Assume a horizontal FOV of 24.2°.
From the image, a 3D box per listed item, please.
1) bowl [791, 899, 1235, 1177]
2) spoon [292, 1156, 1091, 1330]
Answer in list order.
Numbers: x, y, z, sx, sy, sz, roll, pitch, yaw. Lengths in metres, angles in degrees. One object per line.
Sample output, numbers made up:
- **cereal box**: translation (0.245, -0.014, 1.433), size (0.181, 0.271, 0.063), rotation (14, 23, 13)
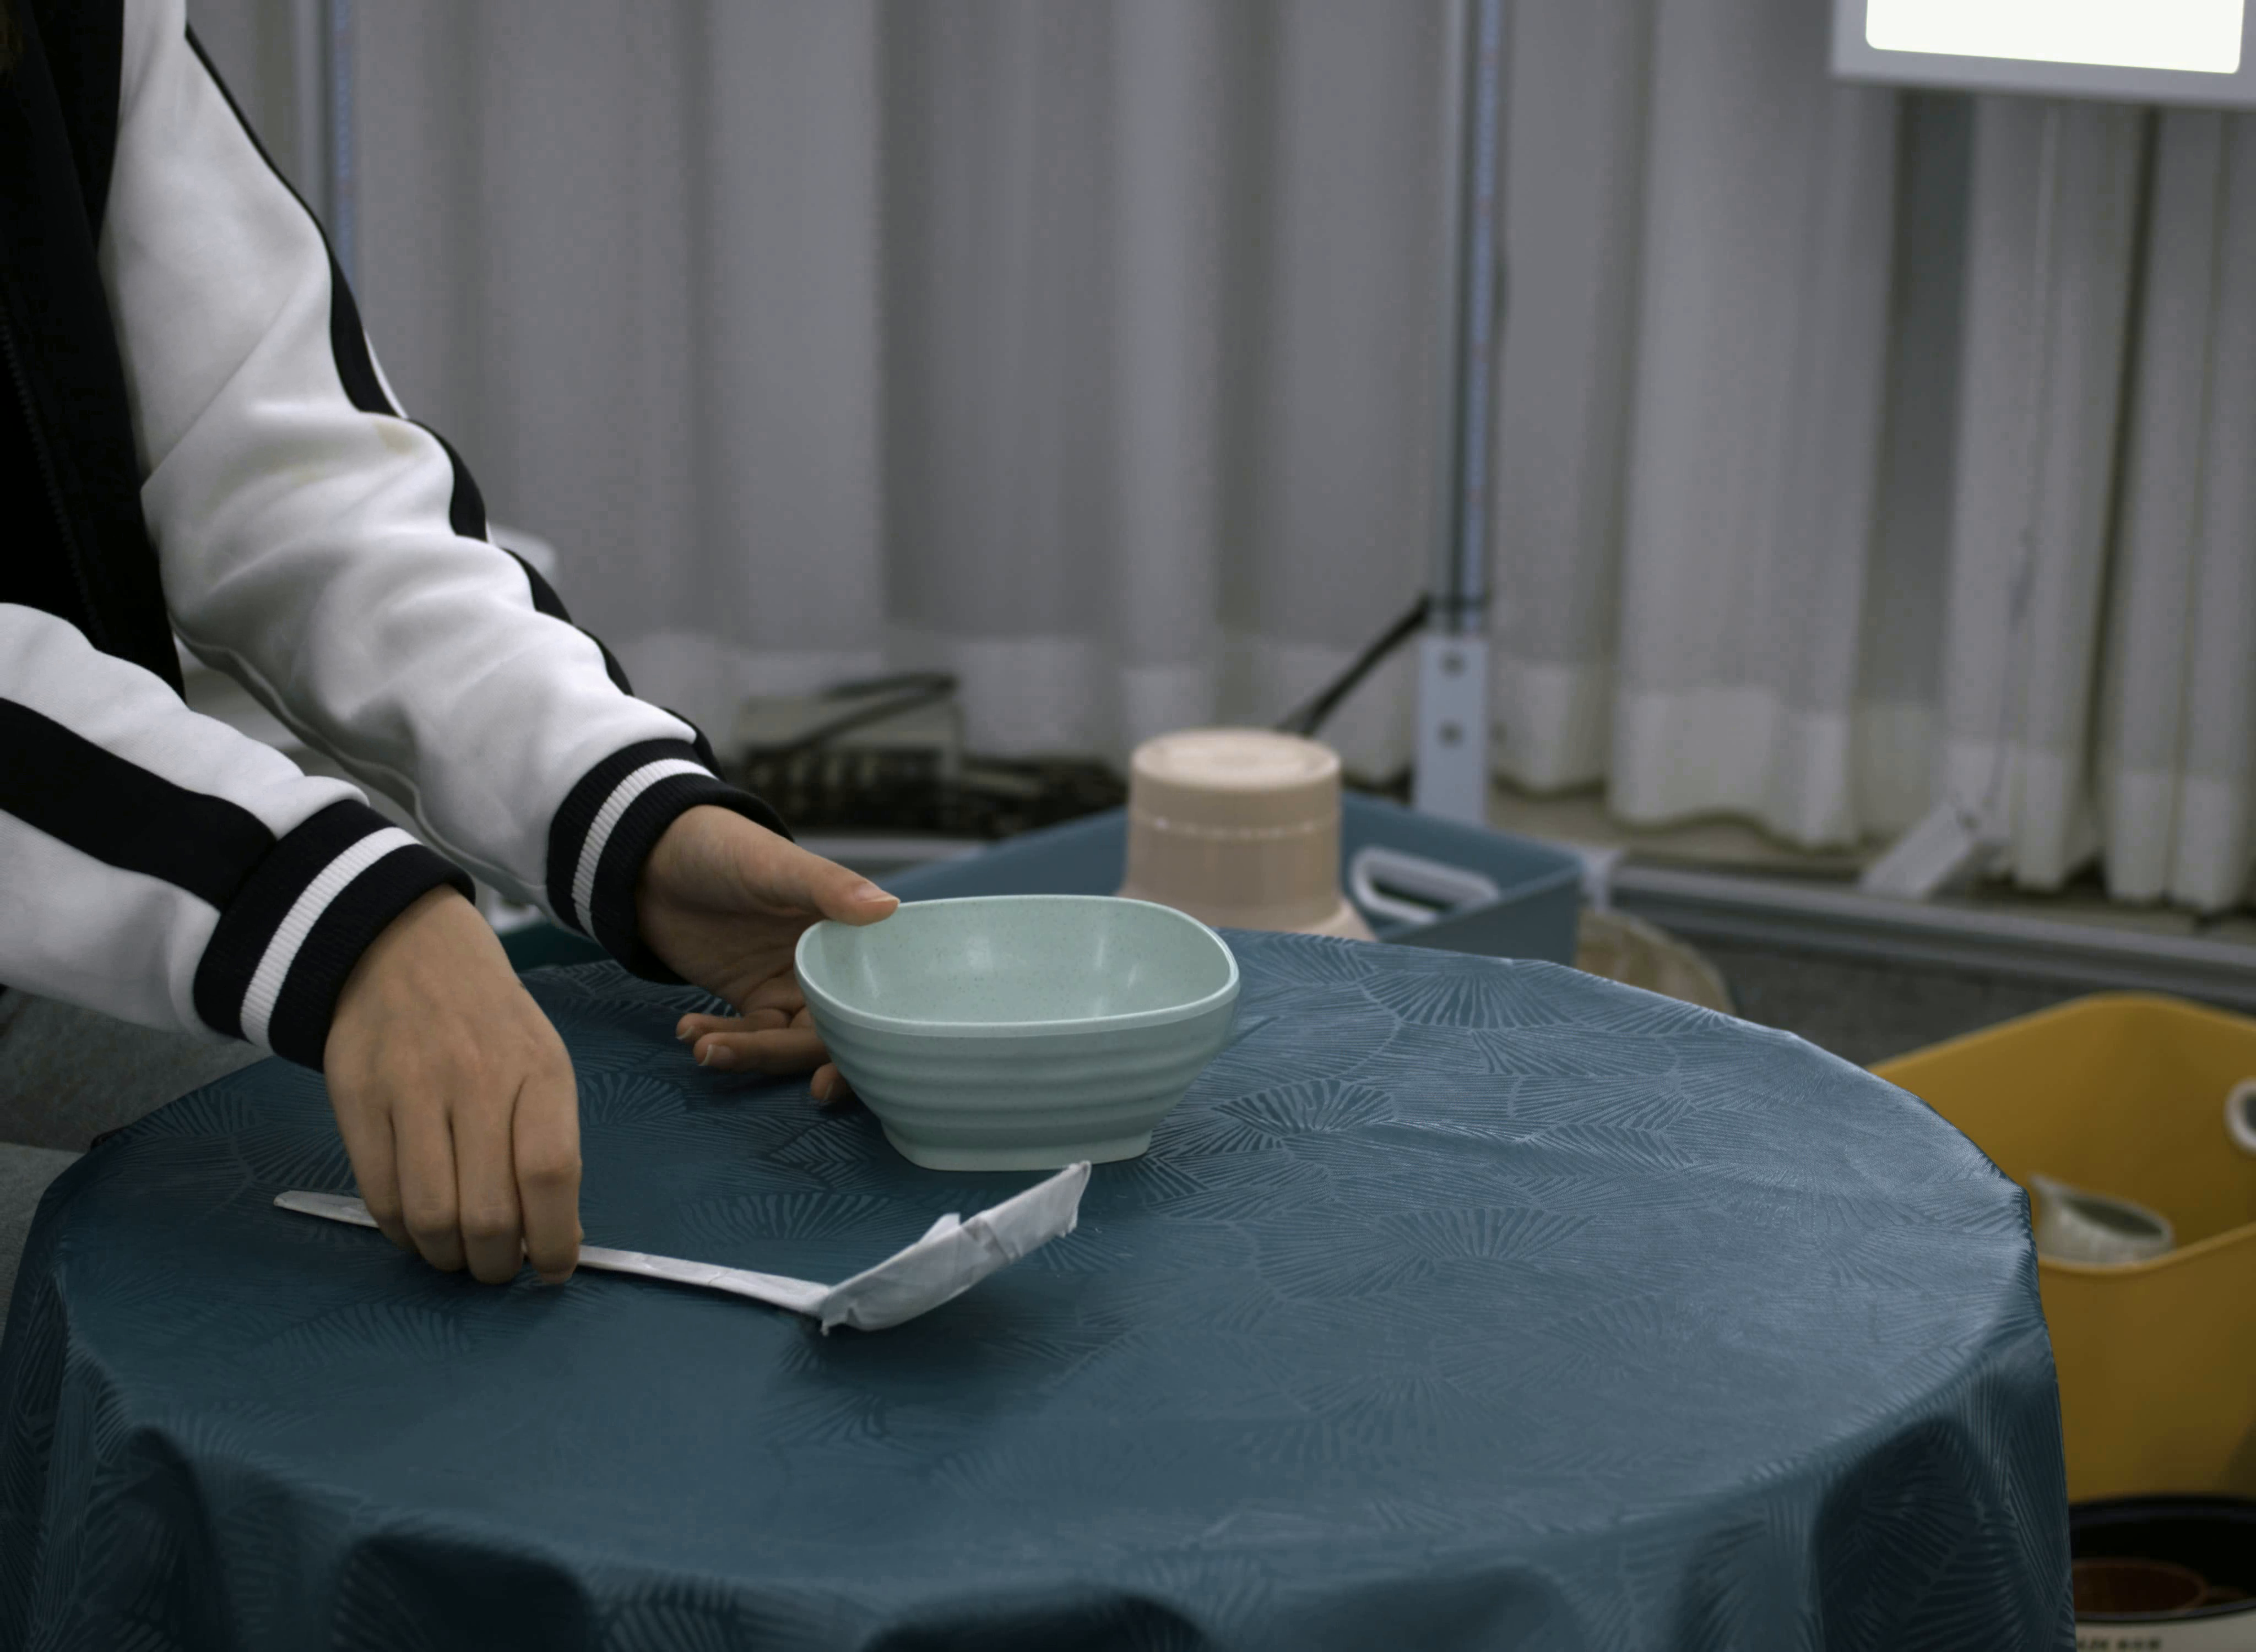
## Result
- **bowl**: translation (-0.037, 0.070, 1.670), size (0.151, 0.059, 0.150), rotation (1, 16, 0)
- **spoon**: translation (-0.134, 0.103, 1.545), size (0.274, 0.060, 0.101), rotation (10, 12, 30)
